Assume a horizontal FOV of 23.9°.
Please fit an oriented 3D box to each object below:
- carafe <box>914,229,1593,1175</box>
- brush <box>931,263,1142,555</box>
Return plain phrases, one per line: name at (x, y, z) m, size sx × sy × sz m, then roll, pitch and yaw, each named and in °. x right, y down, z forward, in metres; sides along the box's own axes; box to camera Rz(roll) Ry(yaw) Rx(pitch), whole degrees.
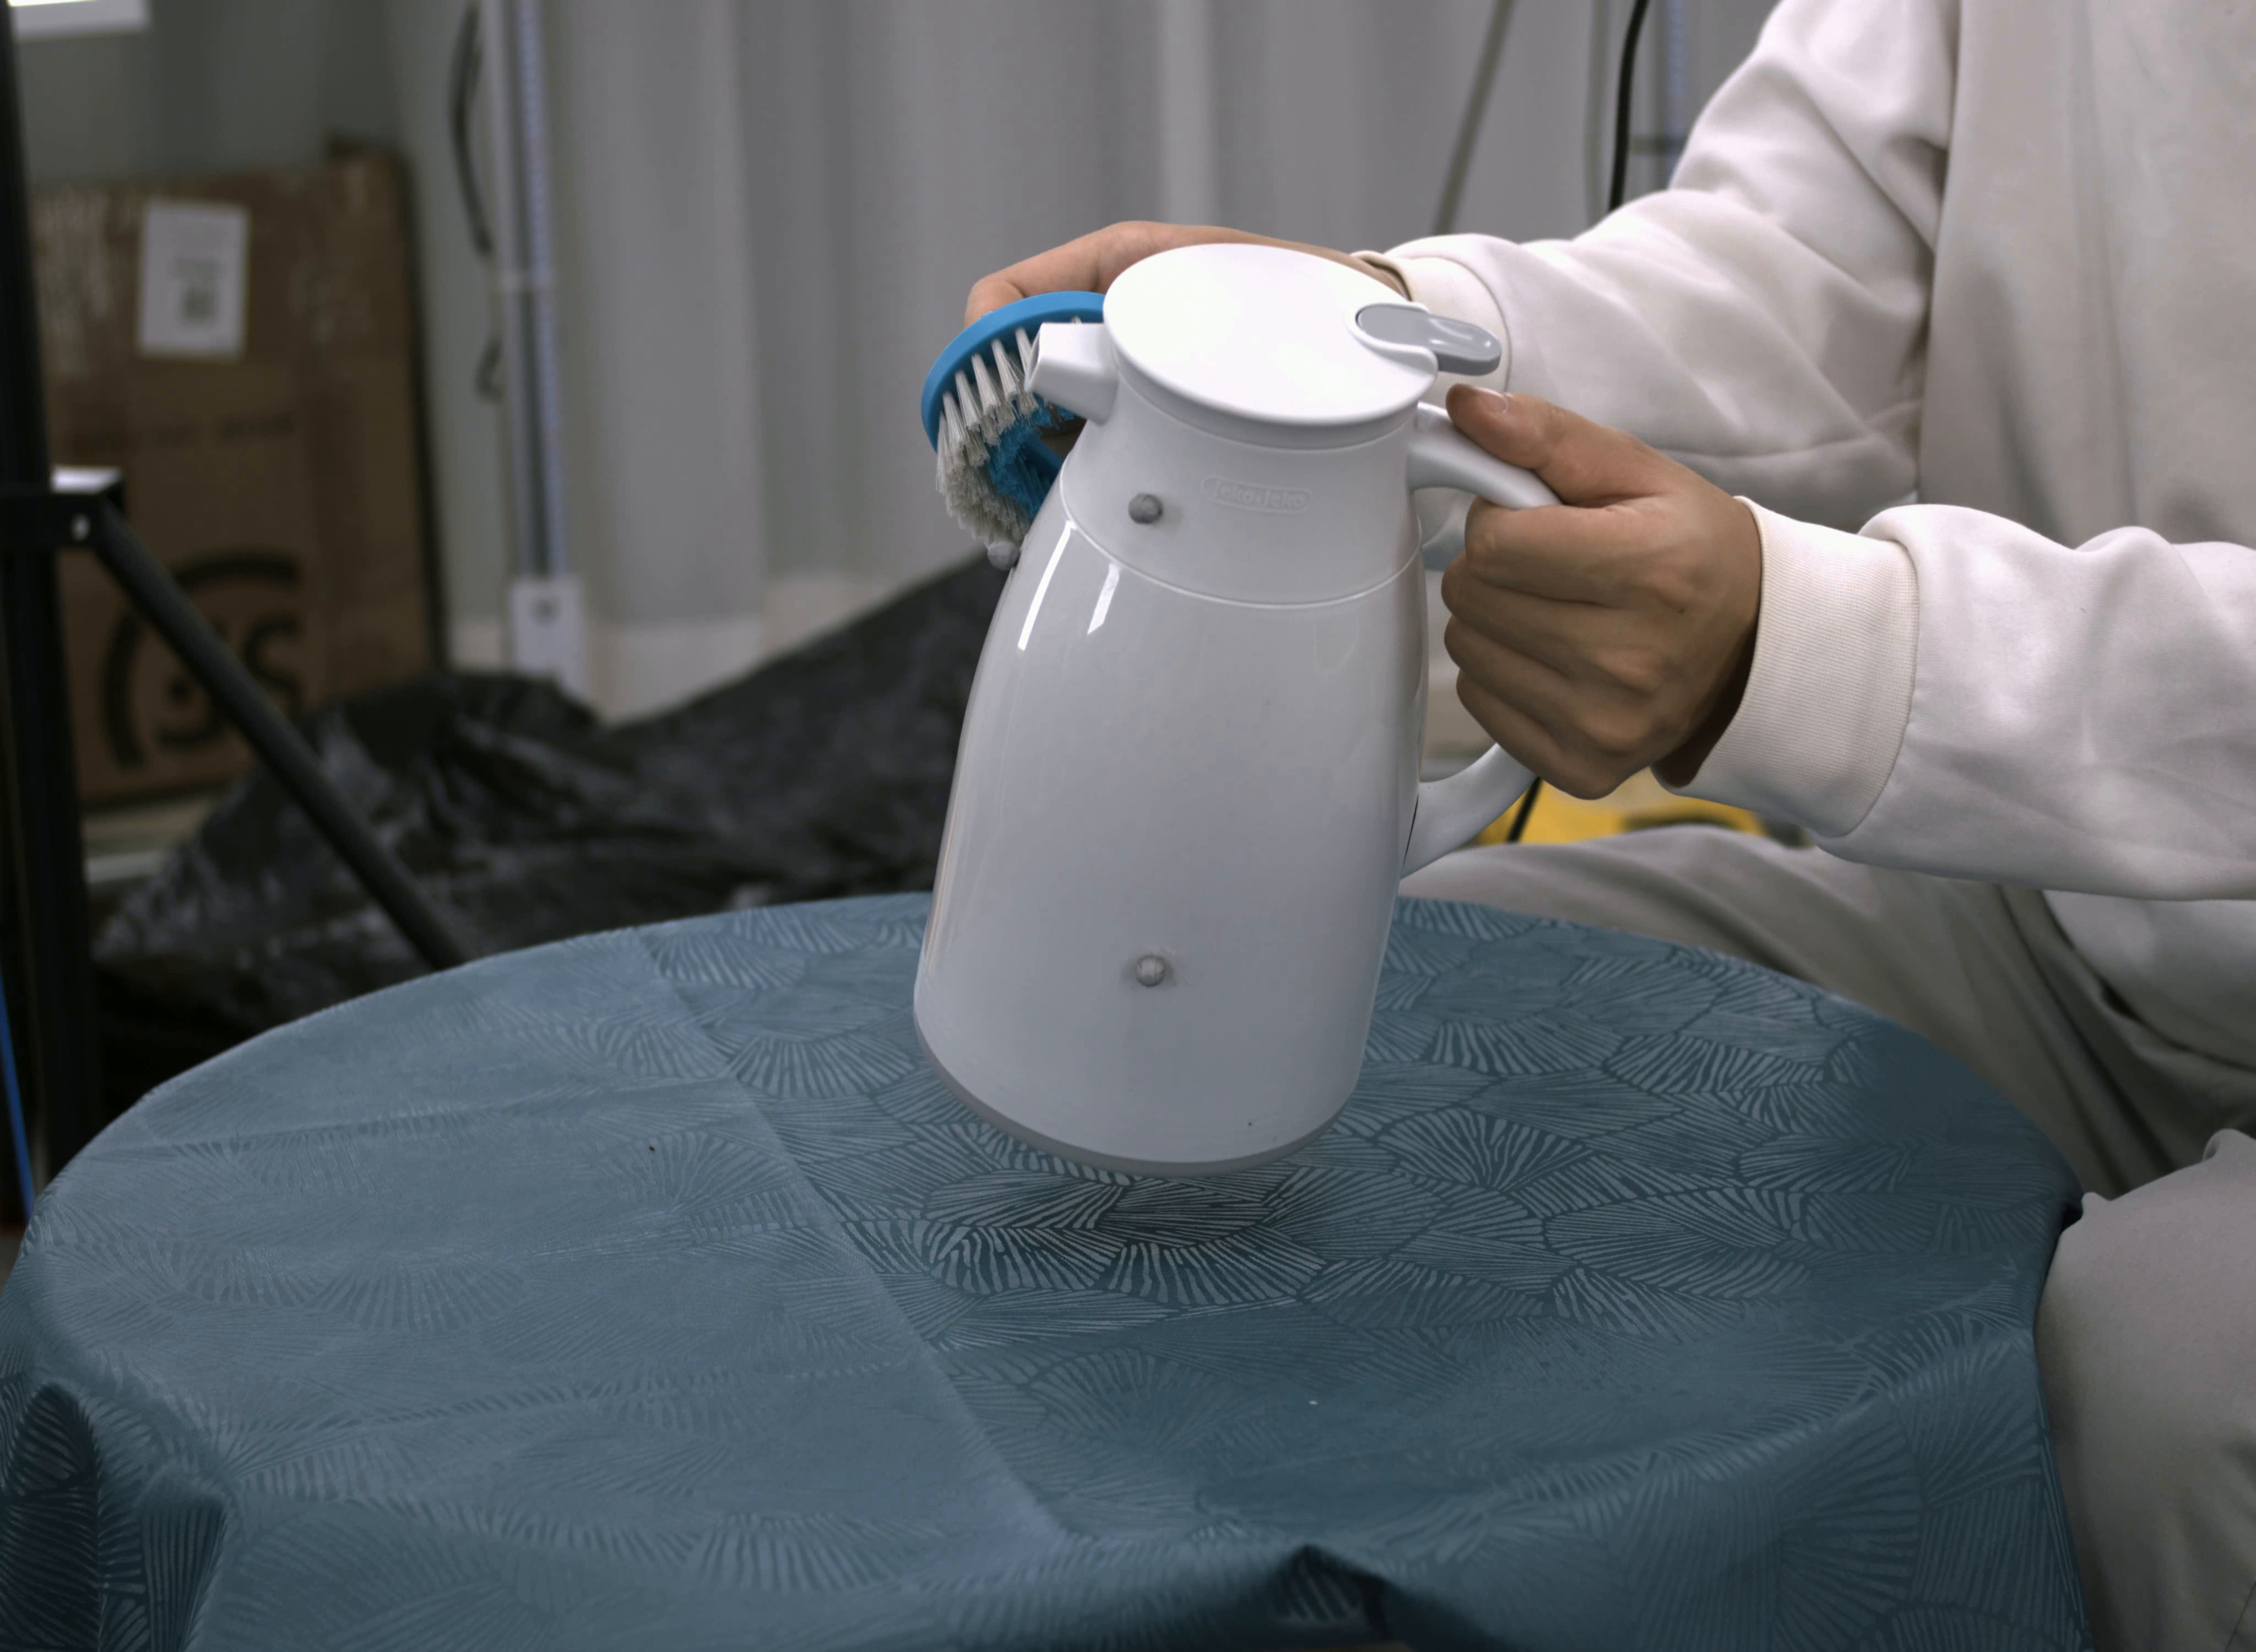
carafe at (0.040, -0.038, 1.478) m, size 0.166 × 0.248 × 0.133 m, roll 8°, pitch 34°, yaw -4°
brush at (-0.004, -0.117, 1.553) m, size 0.138 × 0.085 × 0.065 m, roll 33°, pitch 25°, yaw -45°
